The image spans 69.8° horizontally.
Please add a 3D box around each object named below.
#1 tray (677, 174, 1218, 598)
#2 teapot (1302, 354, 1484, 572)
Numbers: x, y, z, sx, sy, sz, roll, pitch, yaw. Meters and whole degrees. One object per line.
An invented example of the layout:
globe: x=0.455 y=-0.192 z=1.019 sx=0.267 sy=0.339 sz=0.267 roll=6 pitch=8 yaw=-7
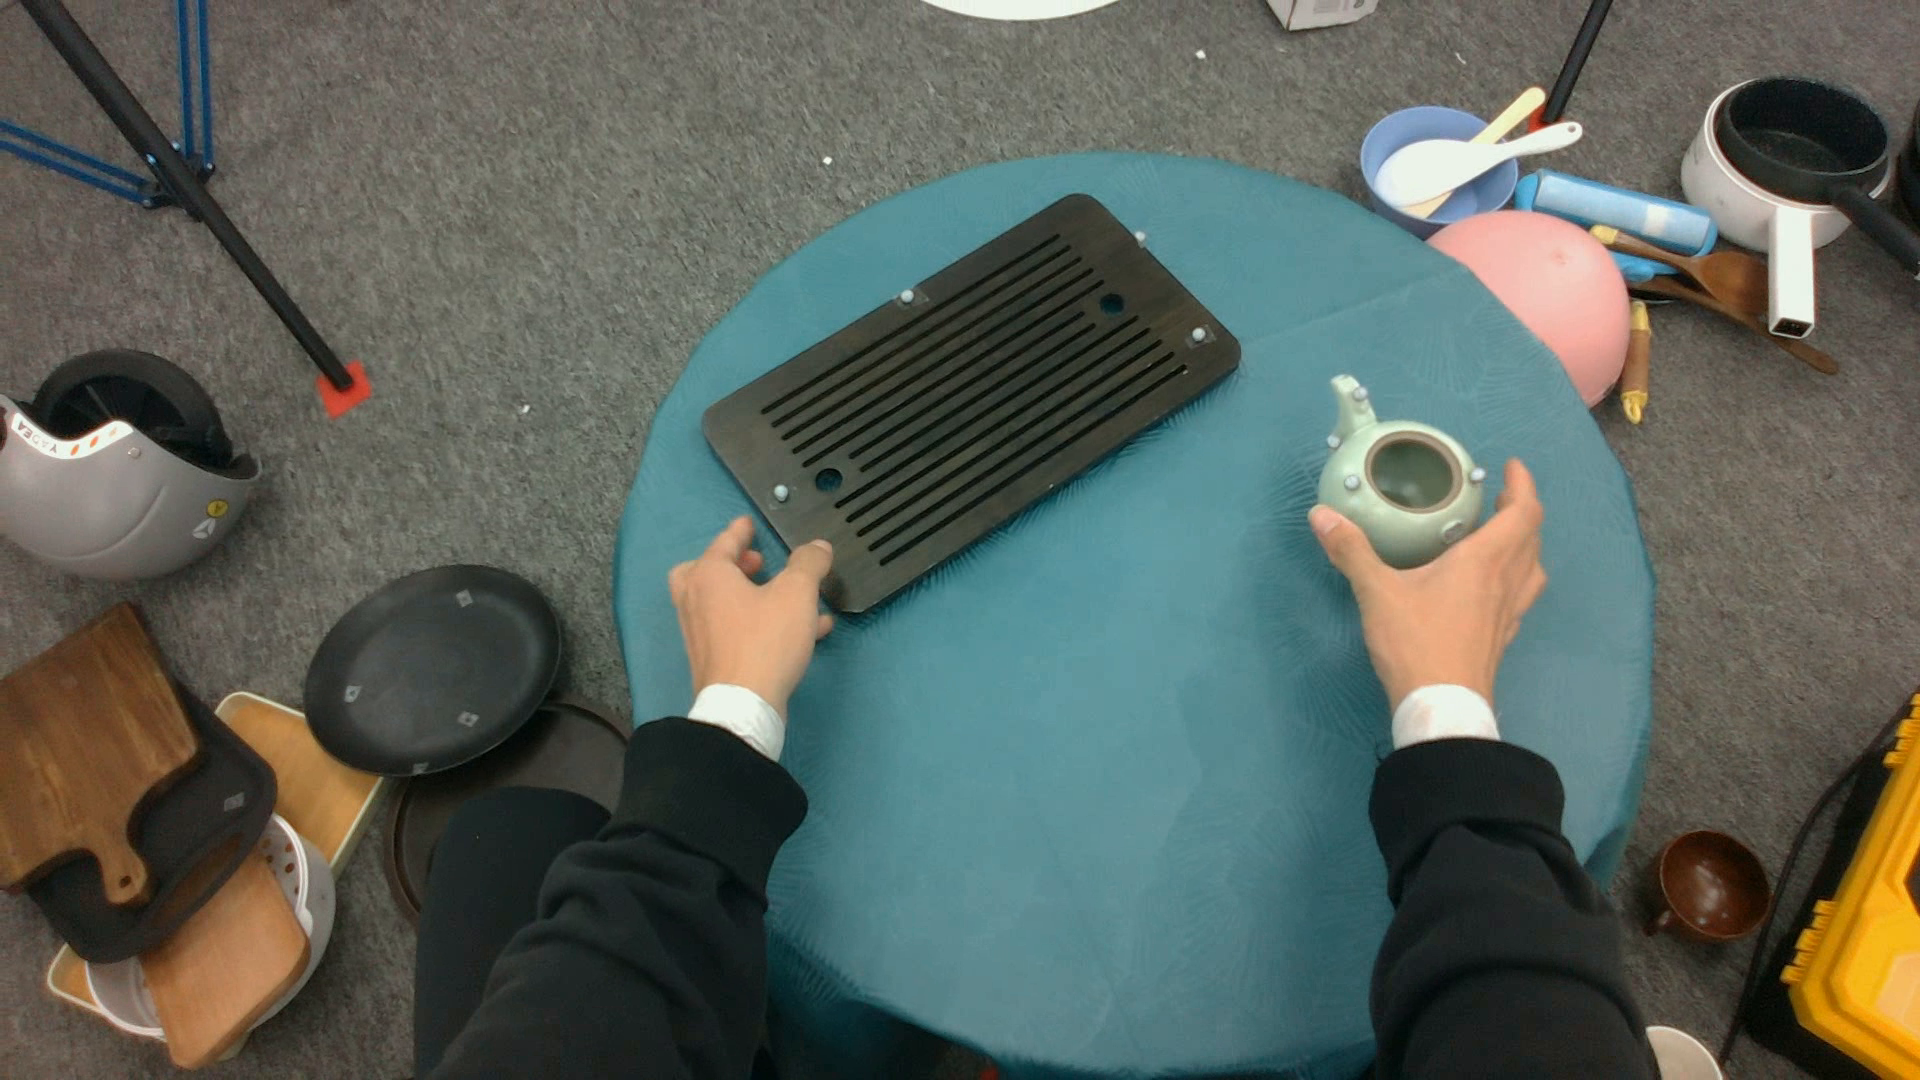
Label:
tray: x=-0.005 y=-0.103 z=0.847 sx=0.307 sy=0.018 sz=0.170 roll=-34 pitch=67 yaw=-16
teapot: x=0.239 y=-0.036 z=0.780 sx=0.088 sy=0.074 sz=0.144 roll=-26 pitch=64 yaw=-12
